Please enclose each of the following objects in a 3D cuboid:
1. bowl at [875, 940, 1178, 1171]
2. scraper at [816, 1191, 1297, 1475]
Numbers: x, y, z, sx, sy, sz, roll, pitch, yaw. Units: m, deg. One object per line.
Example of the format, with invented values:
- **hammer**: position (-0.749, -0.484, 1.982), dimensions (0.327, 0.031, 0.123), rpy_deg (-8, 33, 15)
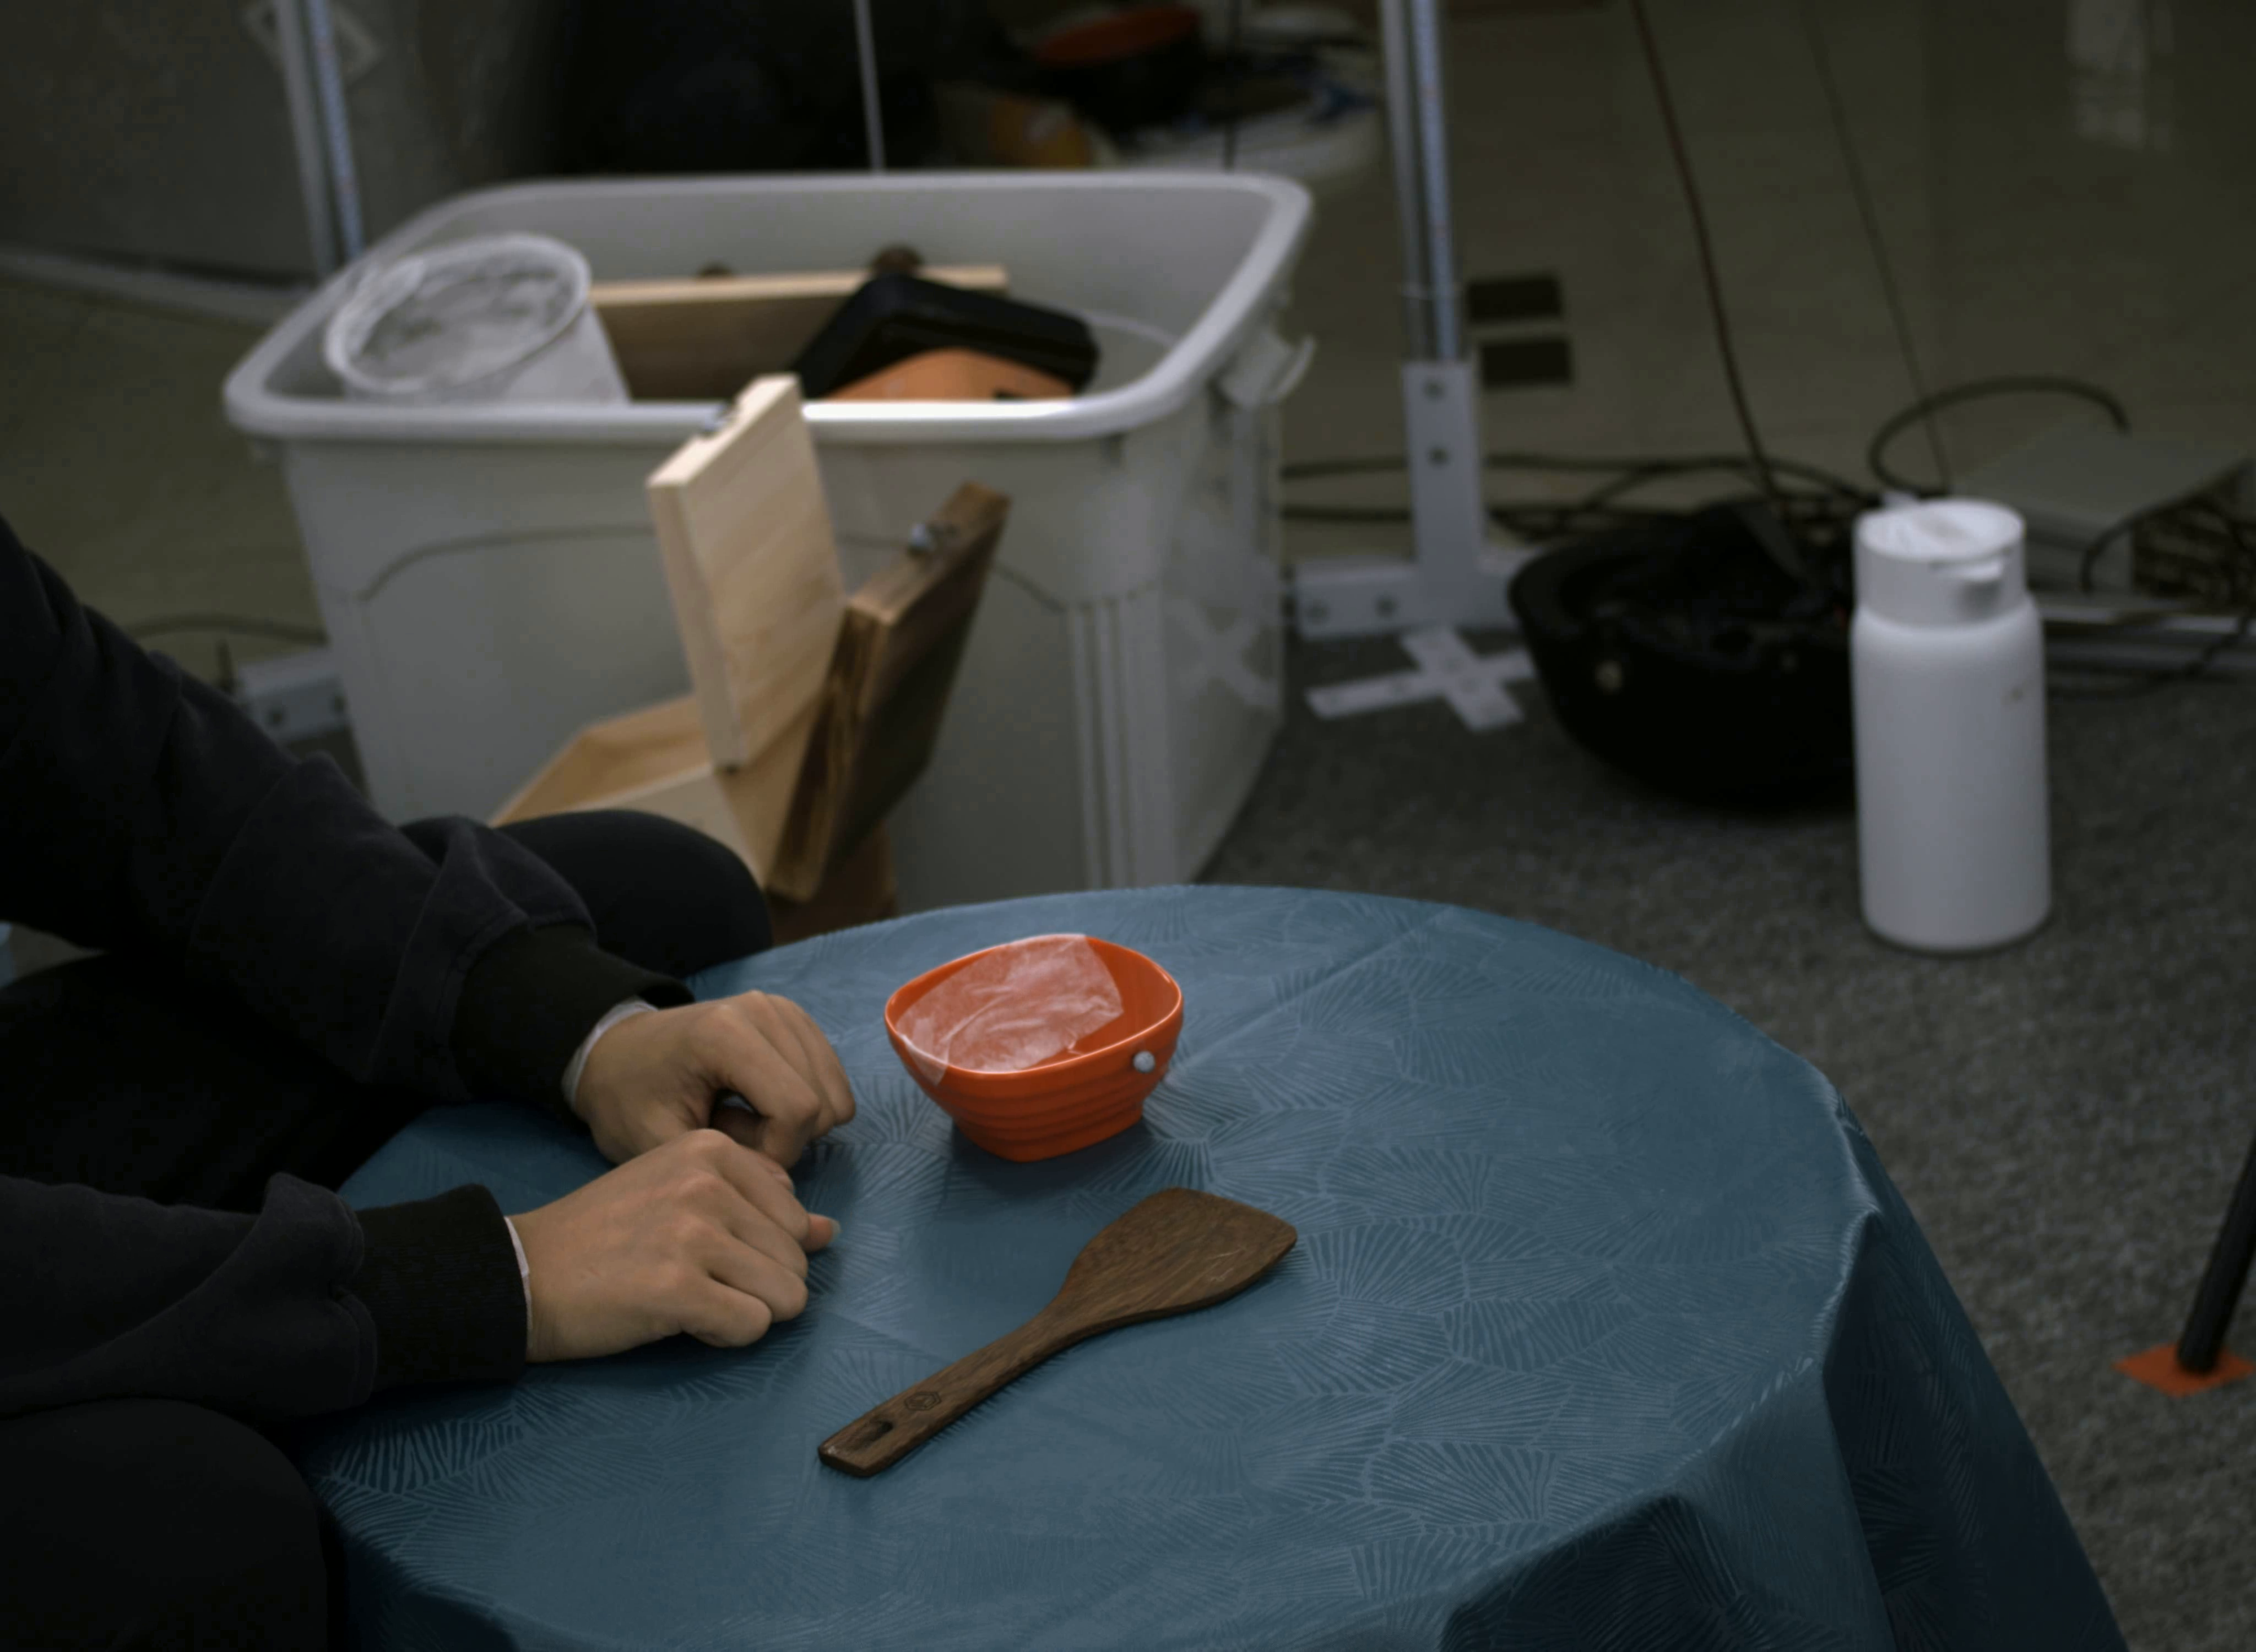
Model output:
- **bowl**: position (-0.038, 0.094, 2.204), dimensions (0.119, 0.052, 0.117), rpy_deg (-3, 27, 2)
- **scraper**: position (-0.030, 0.185, 2.053), dimensions (0.075, 0.011, 0.209), rpy_deg (17, 34, 42)
